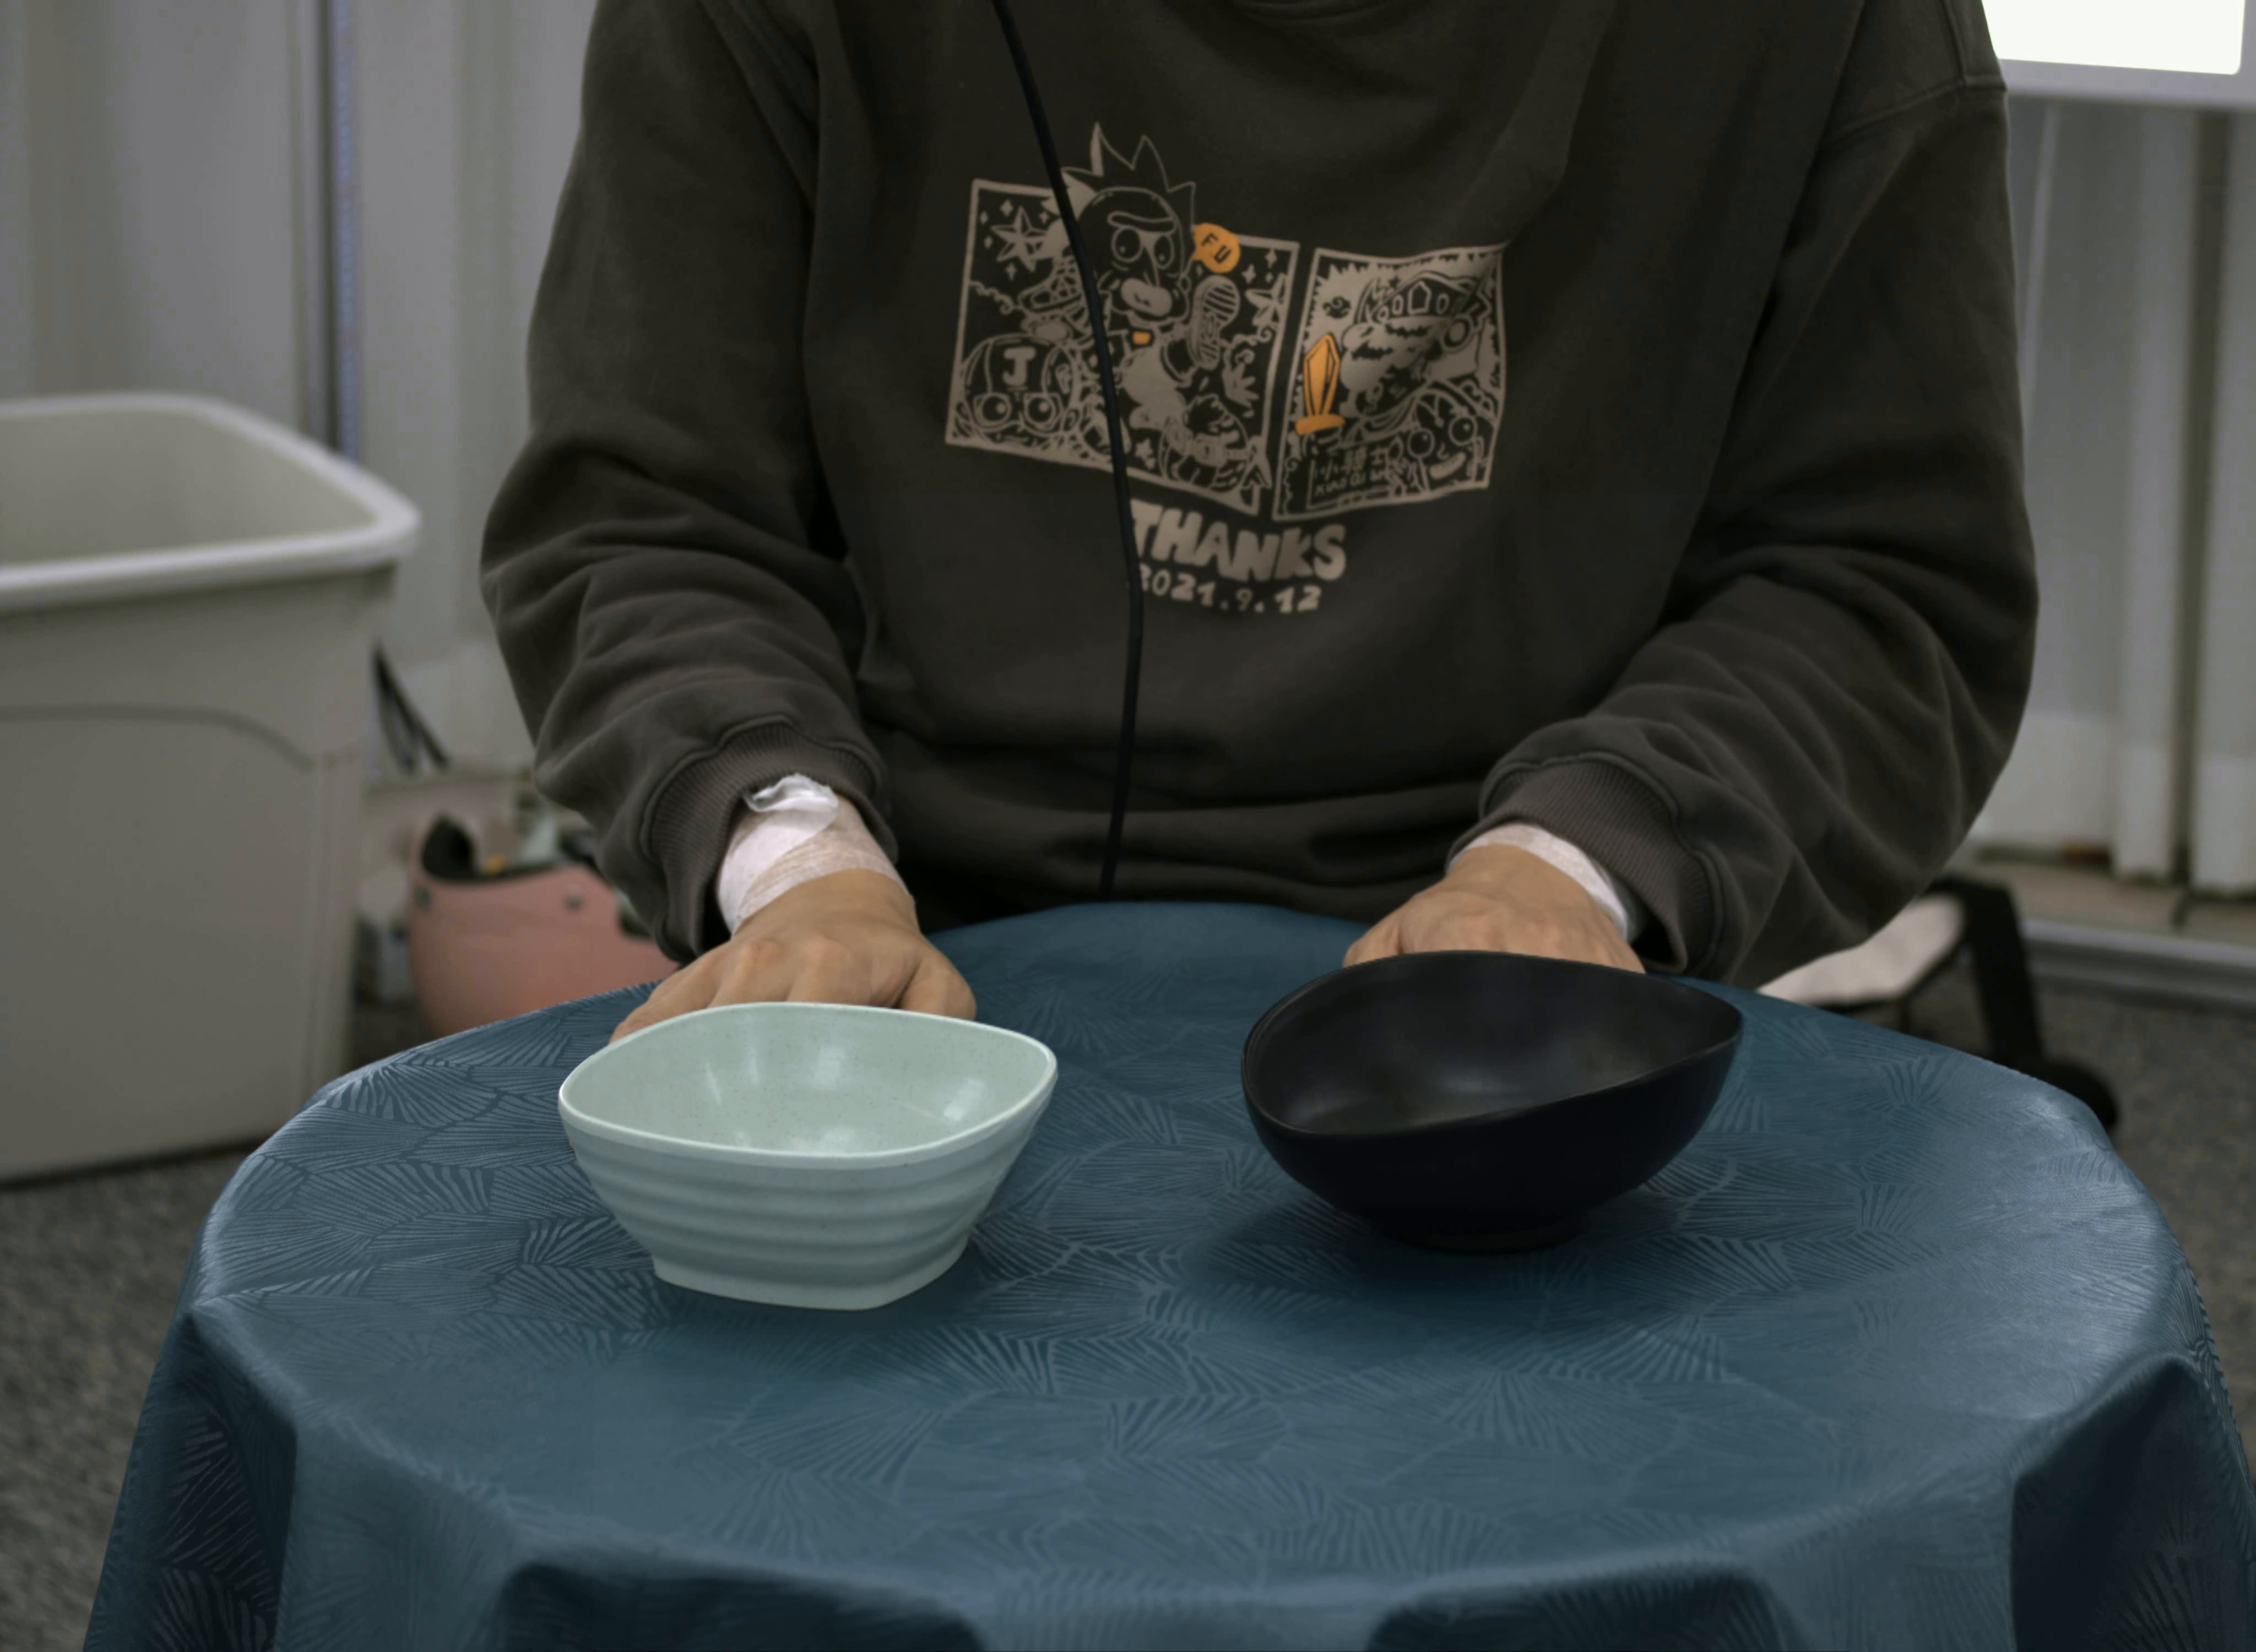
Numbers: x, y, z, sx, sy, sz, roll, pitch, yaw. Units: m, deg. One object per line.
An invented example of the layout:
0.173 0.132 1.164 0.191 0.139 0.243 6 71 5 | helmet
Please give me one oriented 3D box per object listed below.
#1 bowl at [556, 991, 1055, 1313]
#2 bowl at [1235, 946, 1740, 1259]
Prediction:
-0.095 0.100 1.563 0.151 0.059 0.150 2 17 0 | bowl
0.109 0.090 1.599 0.135 0.067 0.171 15 22 41 | bowl
